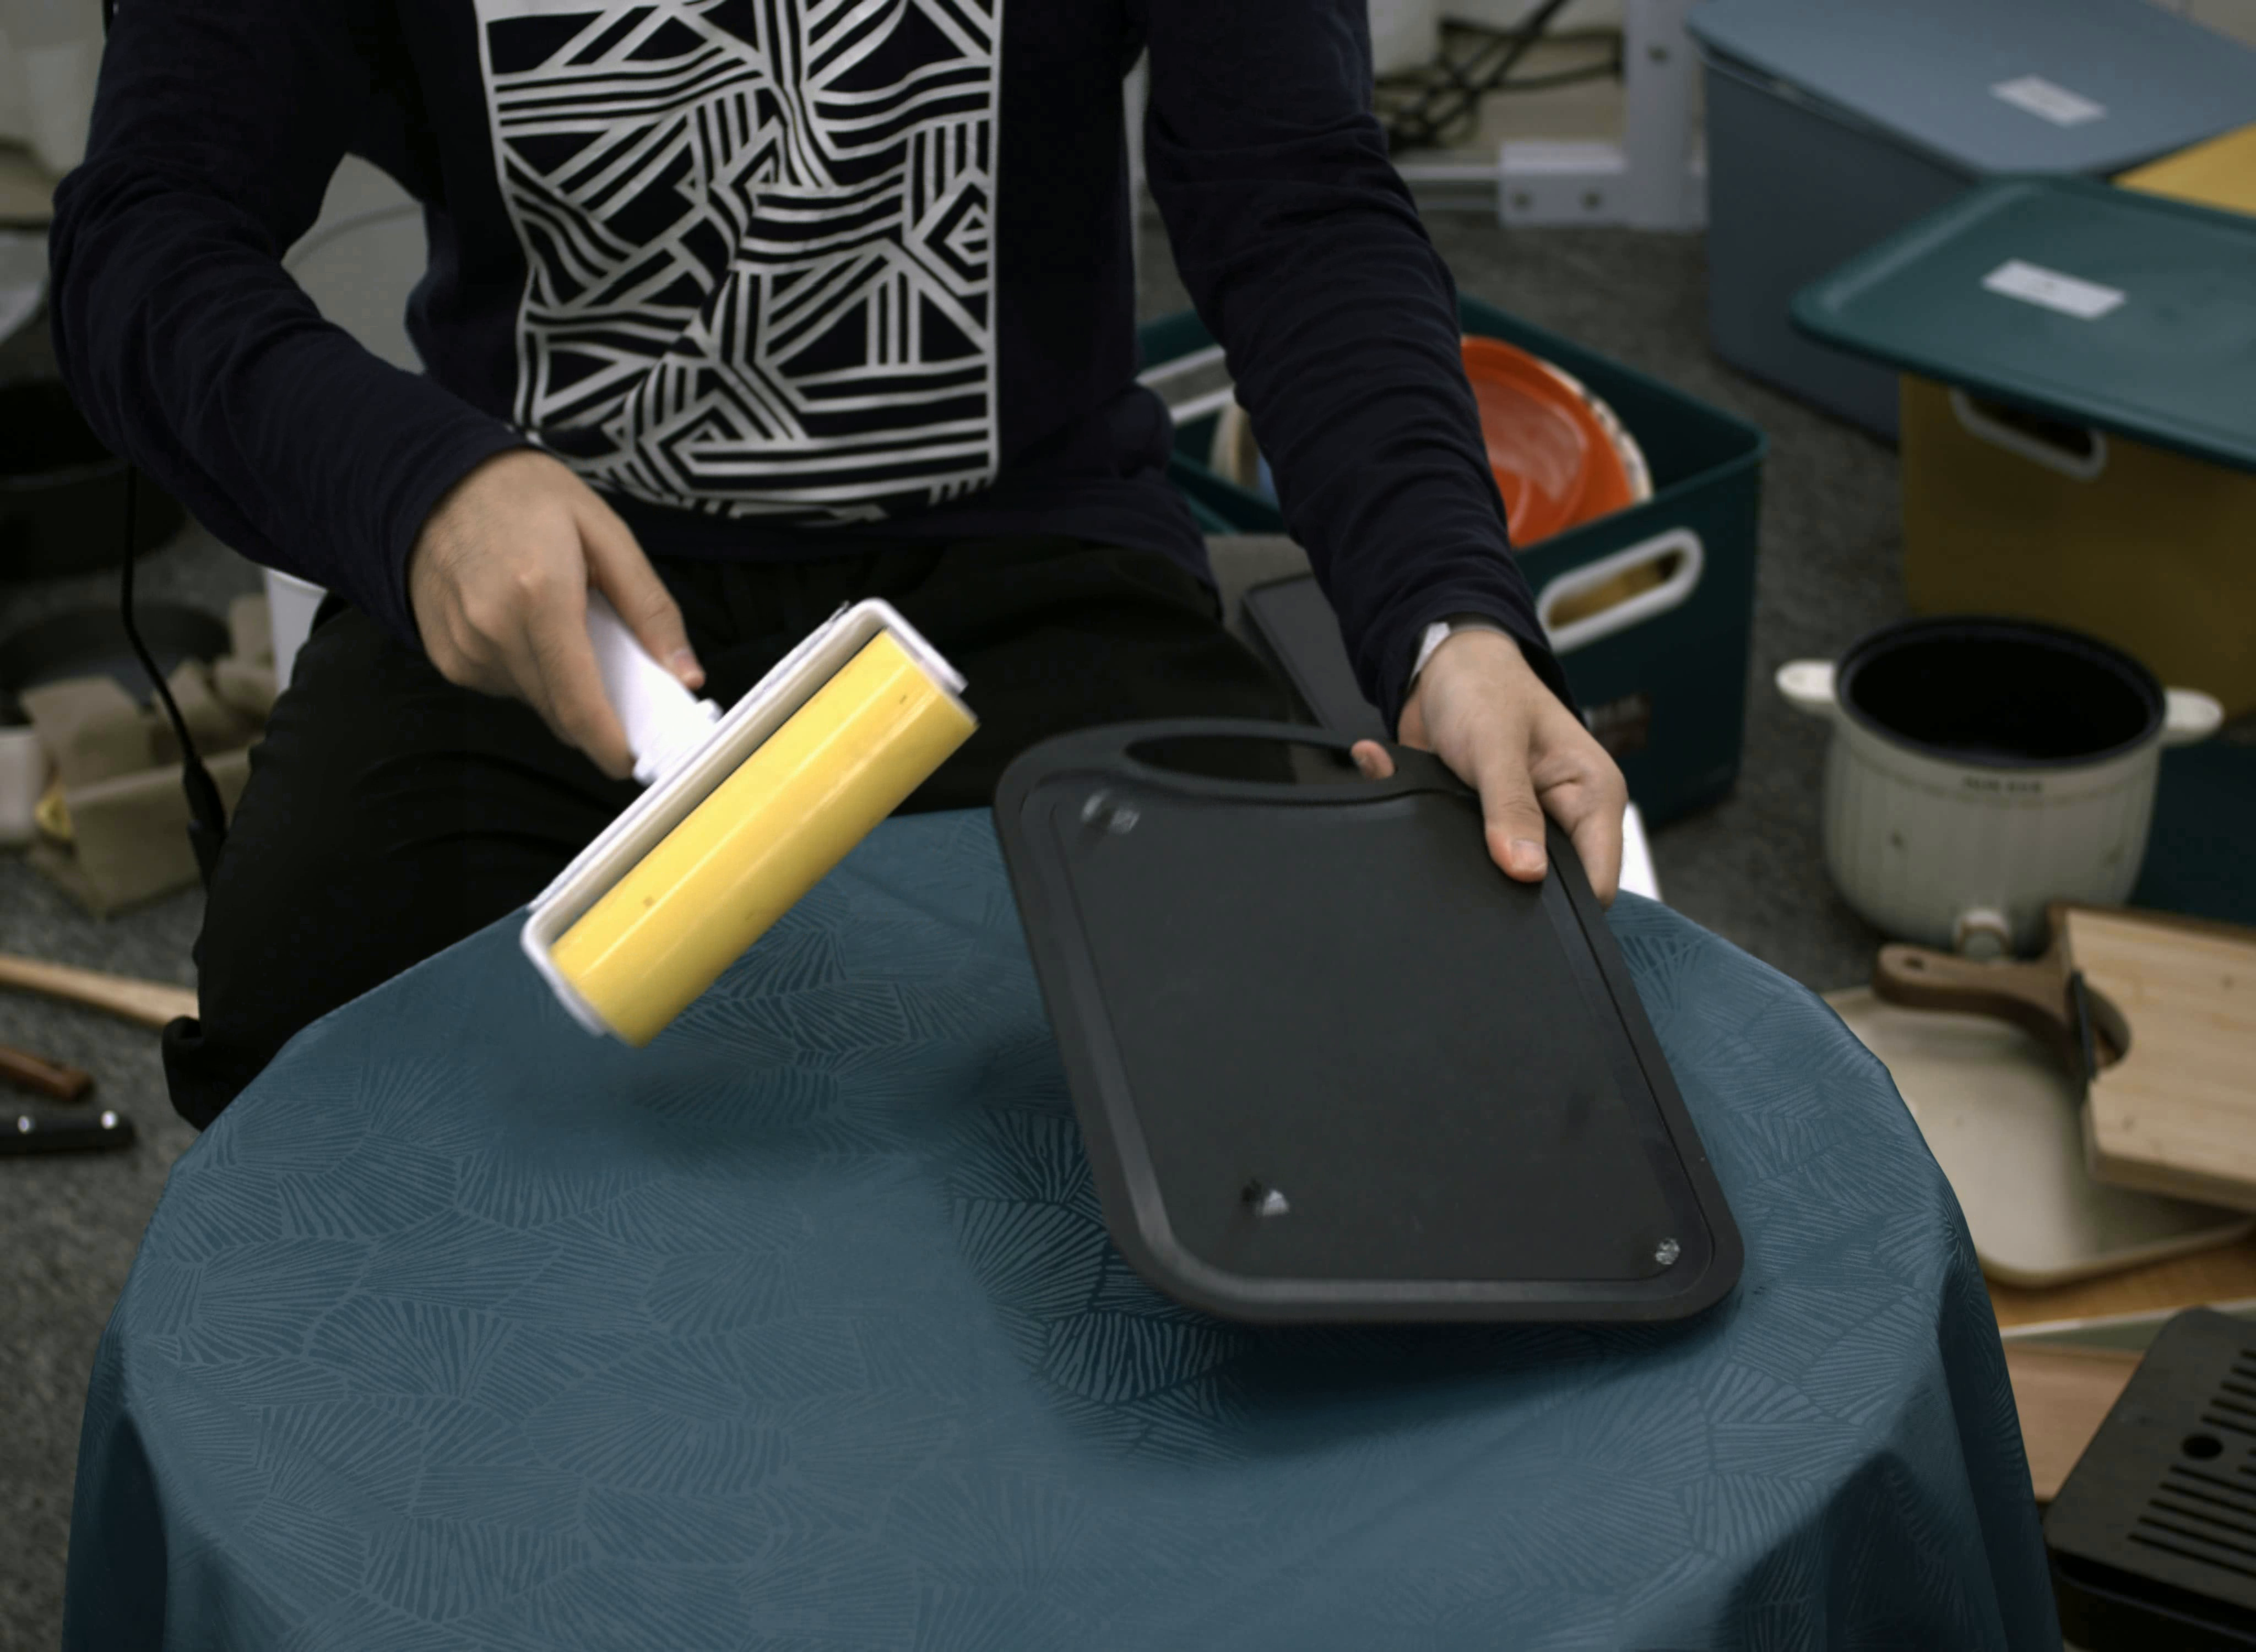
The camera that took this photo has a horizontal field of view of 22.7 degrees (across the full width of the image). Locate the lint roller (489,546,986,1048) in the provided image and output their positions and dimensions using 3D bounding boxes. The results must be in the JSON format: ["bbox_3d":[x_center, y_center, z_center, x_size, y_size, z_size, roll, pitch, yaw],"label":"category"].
[{"bbox_3d":[-0.167,-0.041,1.950,0.174,0.051,0.193,-45,63,-3],"label":"lint roller"}]

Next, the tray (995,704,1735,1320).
[{"bbox_3d":[0.072,0.053,1.865,0.211,0.009,0.330,4,35,-15],"label":"tray"}]
